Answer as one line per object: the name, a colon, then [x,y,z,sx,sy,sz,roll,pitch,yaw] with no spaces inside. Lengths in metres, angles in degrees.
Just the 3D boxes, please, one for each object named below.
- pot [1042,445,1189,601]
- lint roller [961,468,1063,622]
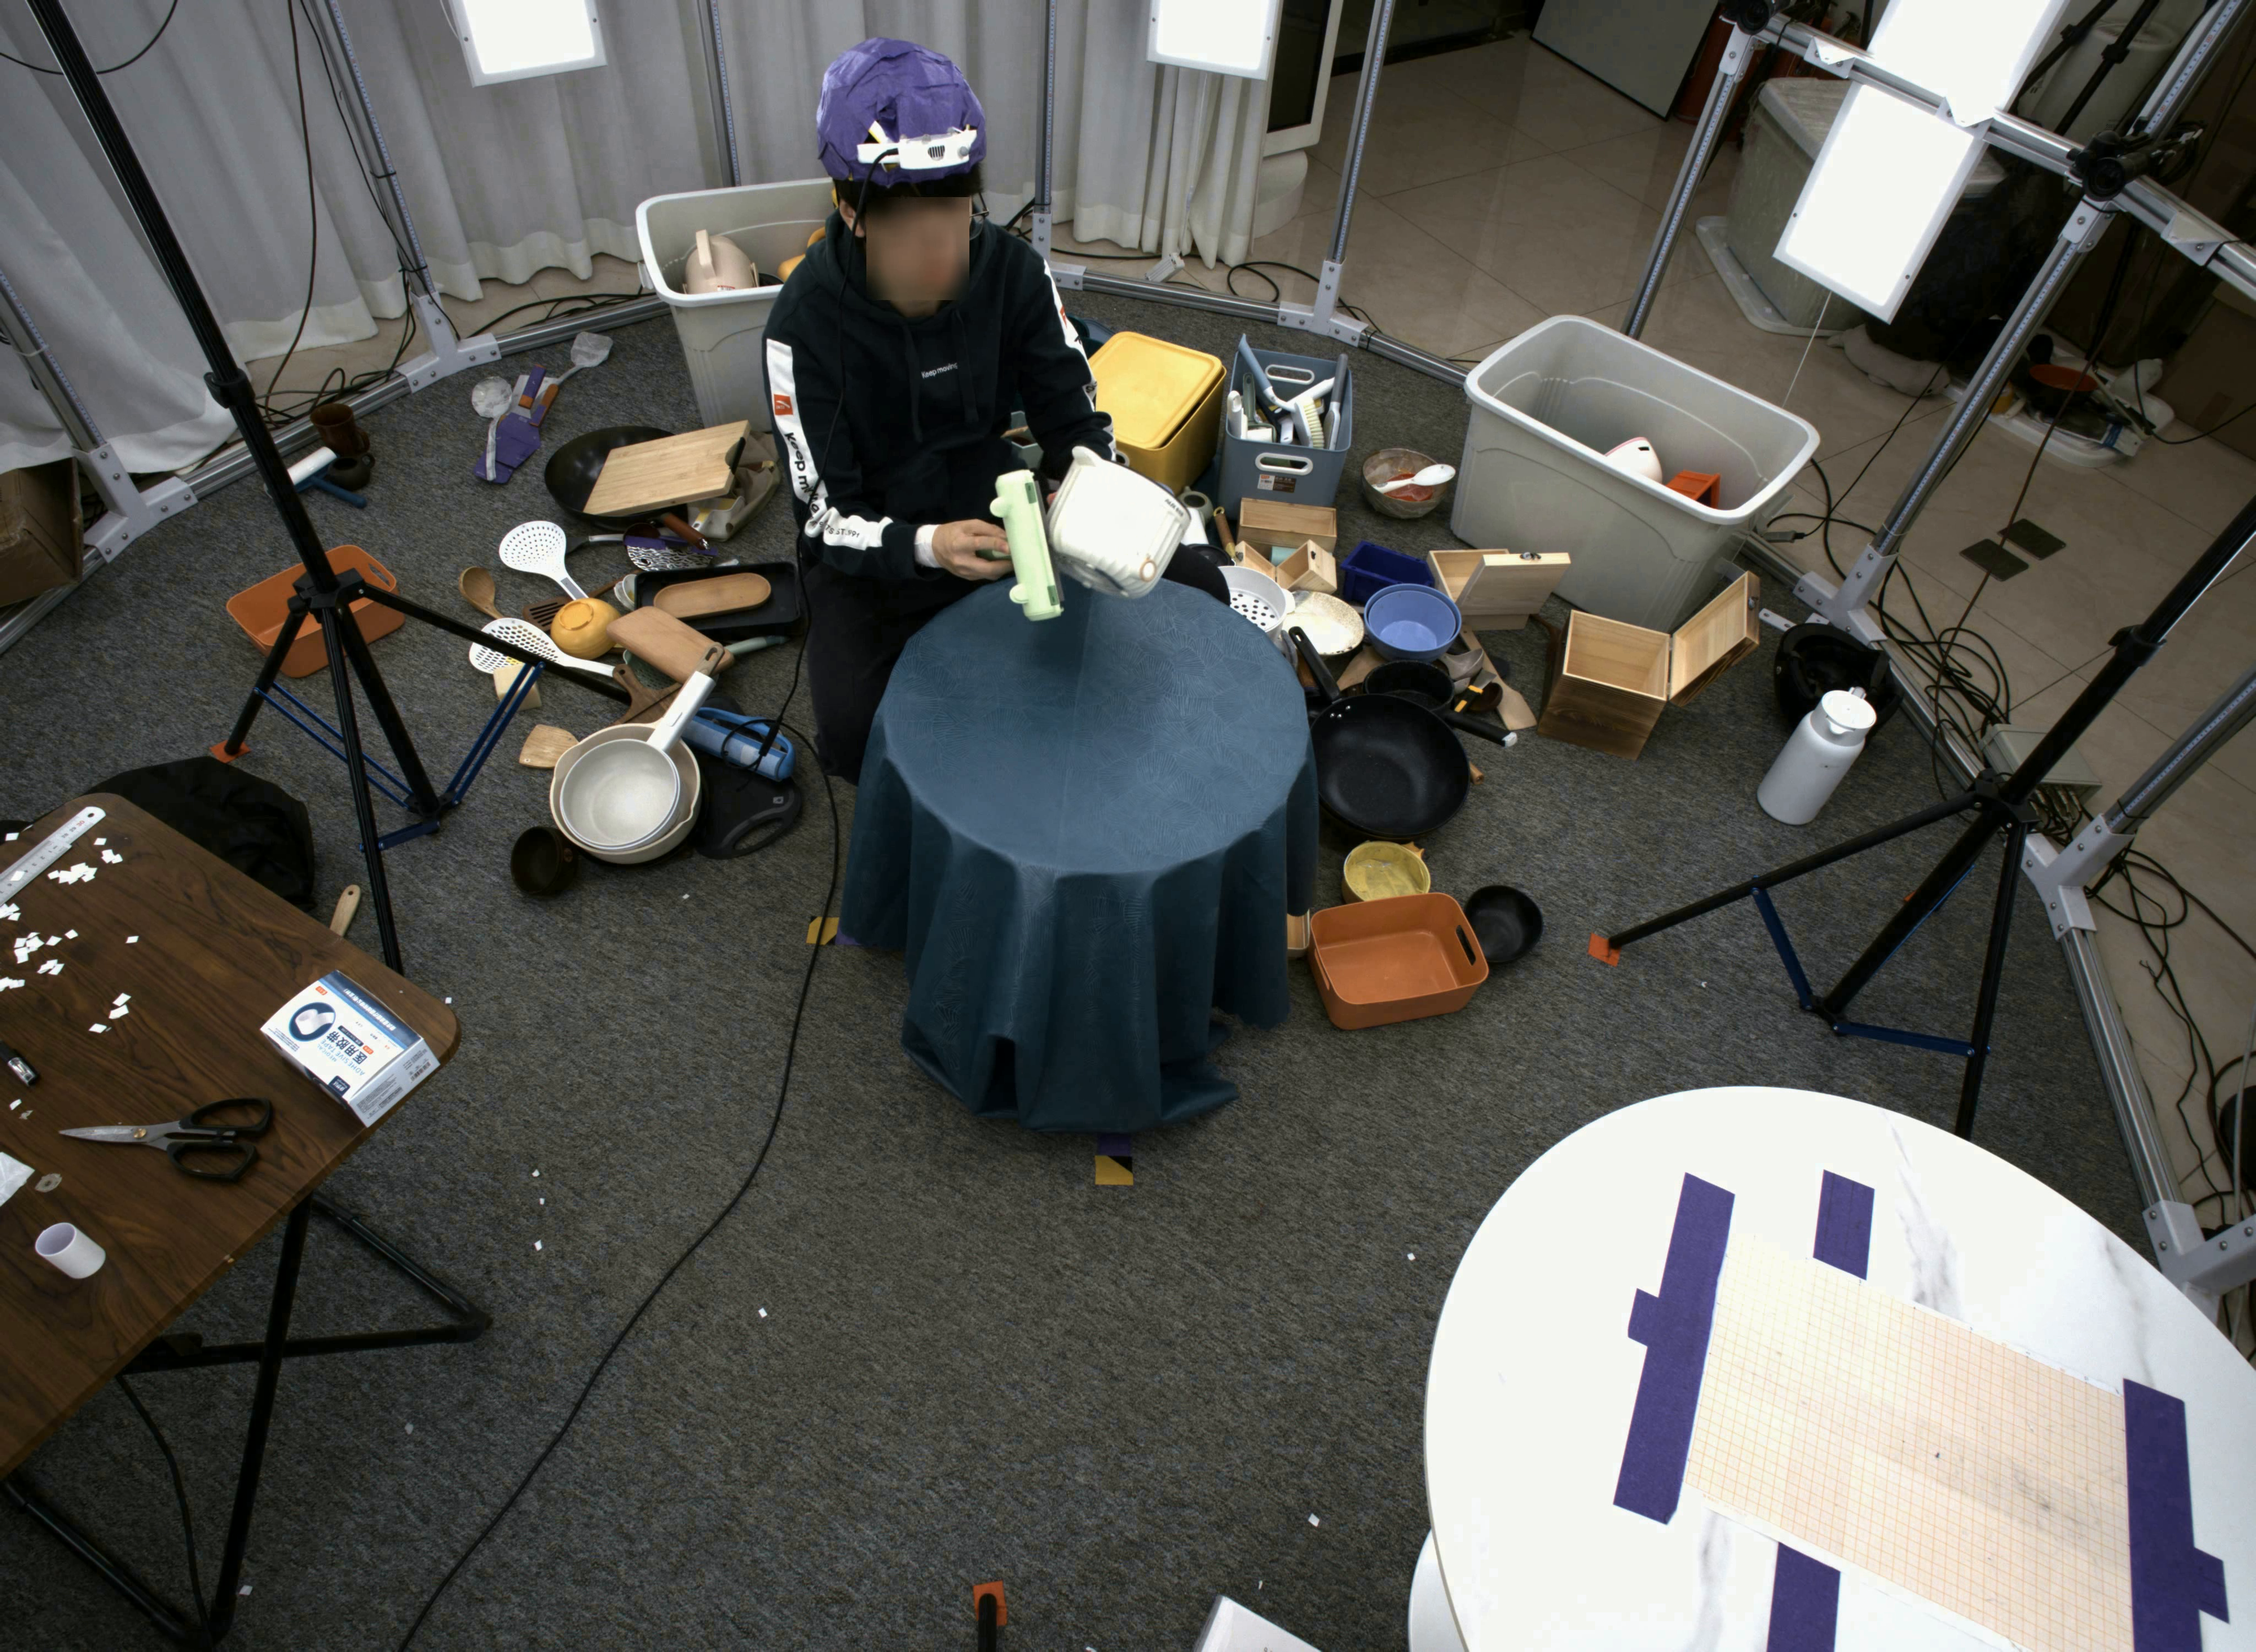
pot: [-0.022,-0.397,1.759,0.193,0.236,0.143,18,82,42]
lint roller: [-0.178,-0.369,1.737,0.184,0.196,0.083,-1,17,39]
